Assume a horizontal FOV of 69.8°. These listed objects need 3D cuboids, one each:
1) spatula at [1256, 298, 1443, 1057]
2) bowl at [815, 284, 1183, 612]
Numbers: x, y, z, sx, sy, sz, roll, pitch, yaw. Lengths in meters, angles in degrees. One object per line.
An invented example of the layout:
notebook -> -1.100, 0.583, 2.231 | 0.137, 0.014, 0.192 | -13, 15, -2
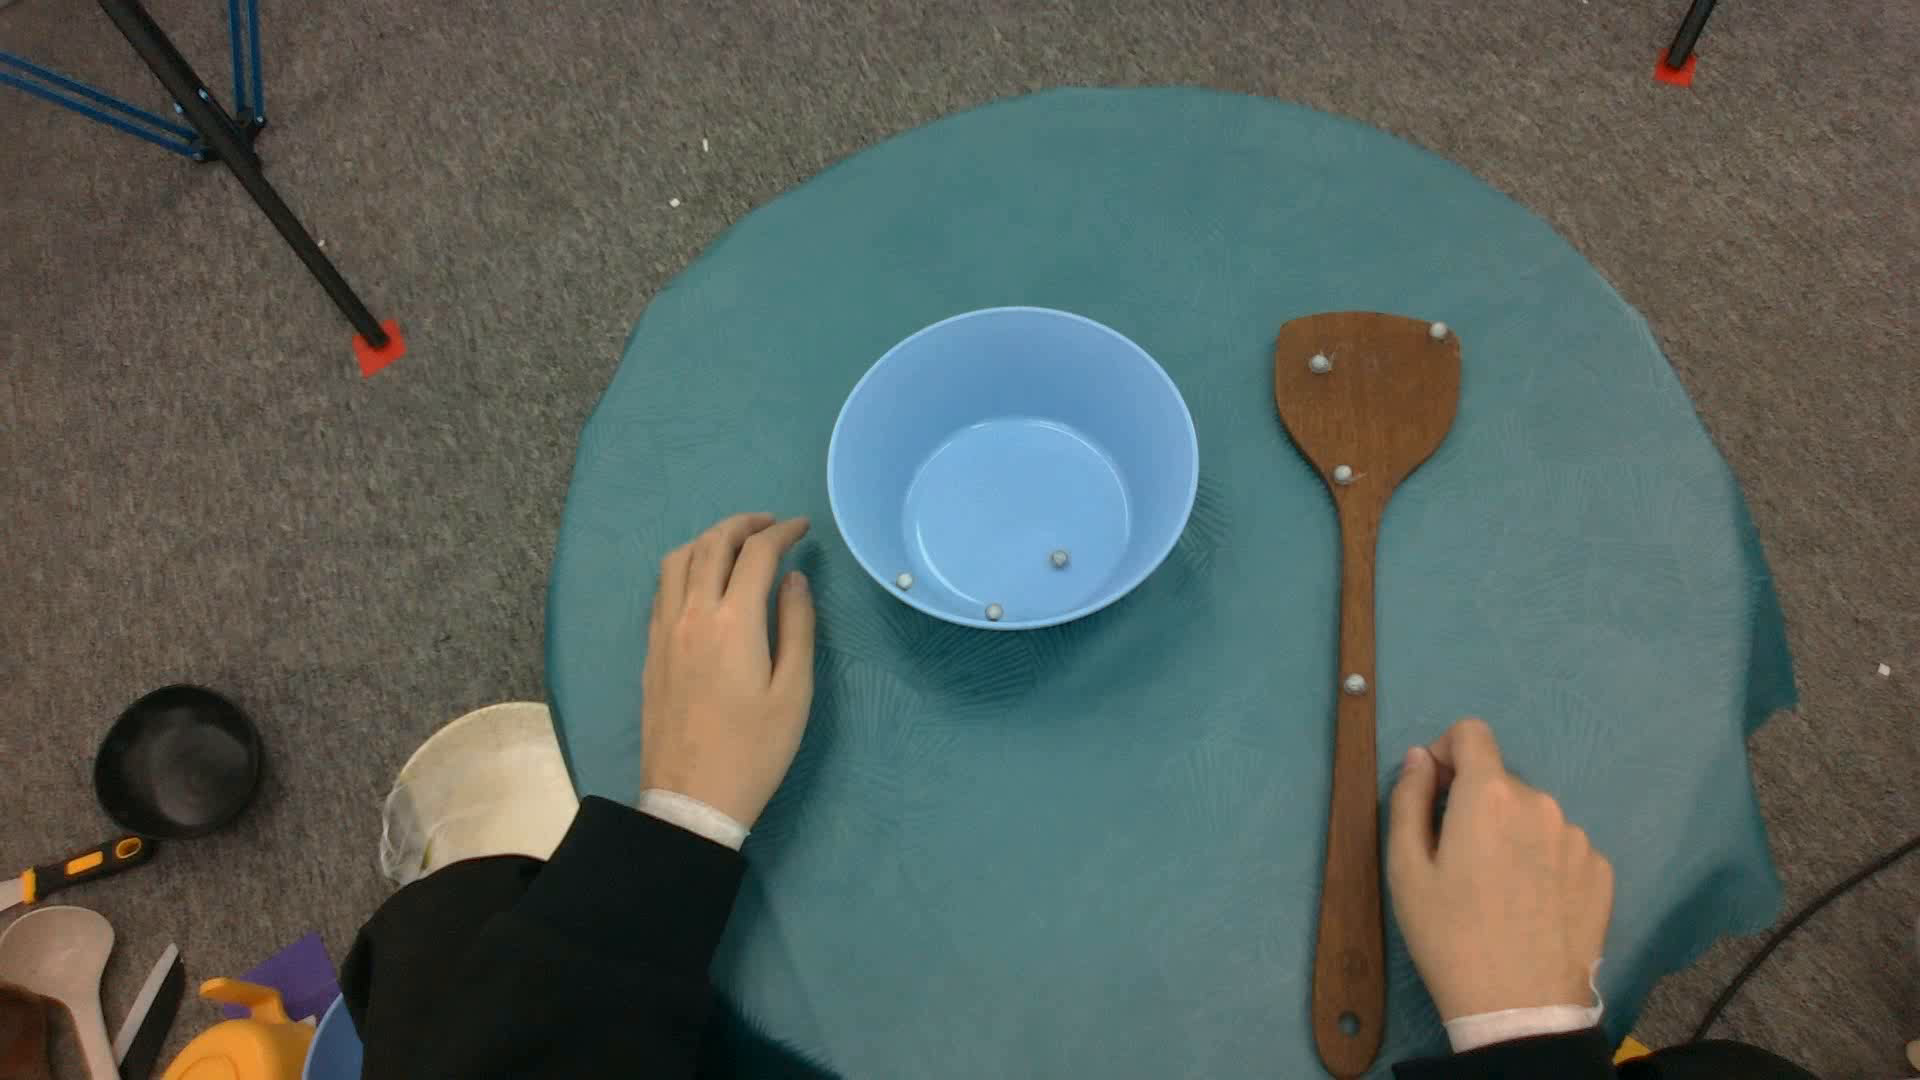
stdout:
spatula -> 0.183, 0.043, 0.660 | 0.096, 0.016, 0.387 | 5, 64, 7
bowl -> 0.020, -0.035, 0.680 | 0.176, 0.070, 0.176 | -2, 65, 4
